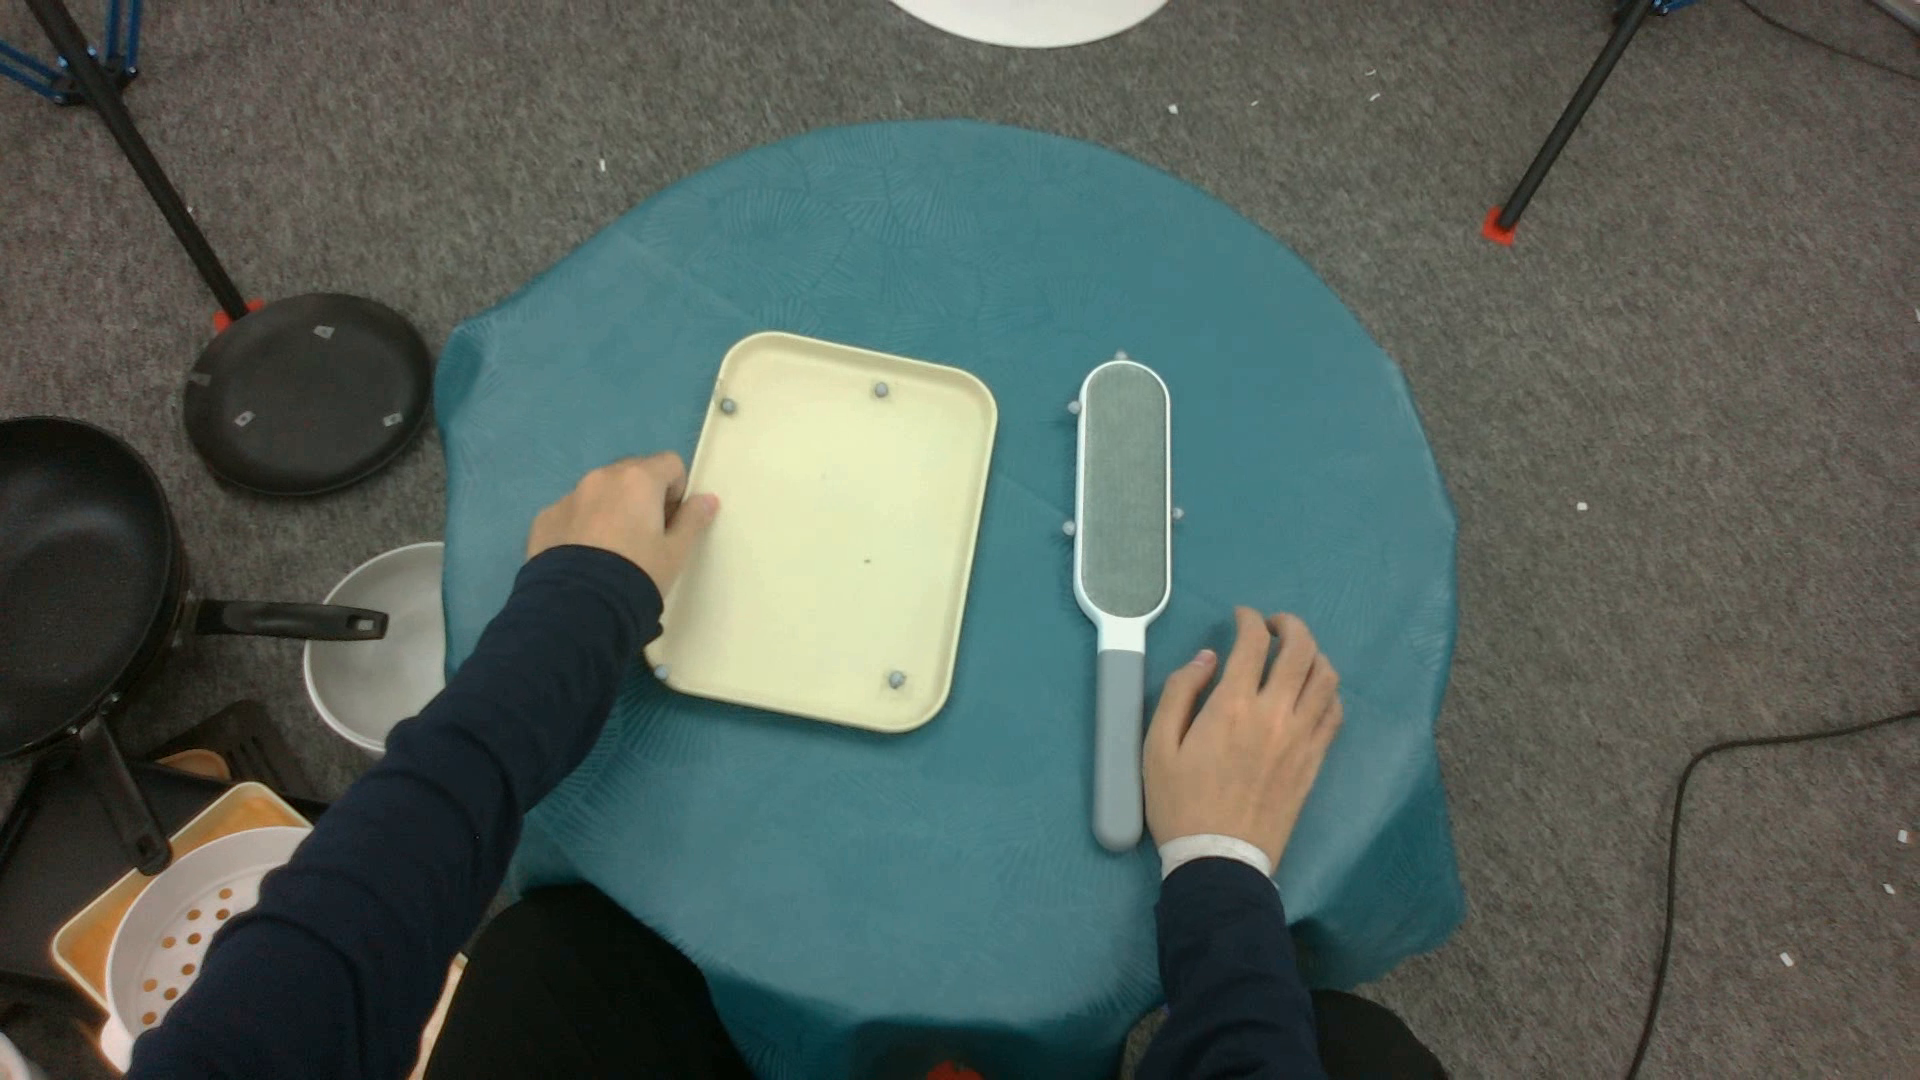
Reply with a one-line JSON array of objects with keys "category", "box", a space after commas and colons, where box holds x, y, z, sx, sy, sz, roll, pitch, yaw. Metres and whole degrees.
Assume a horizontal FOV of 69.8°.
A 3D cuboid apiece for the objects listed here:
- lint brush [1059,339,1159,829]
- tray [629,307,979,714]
[{"category": "lint brush", "box": [0.085, 0.014, 0.794, 0.060, 0.021, 0.310, 9, 63, -9]}, {"category": "tray", "box": [-0.083, -0.021, 0.790, 0.171, 0.017, 0.240, 12, 62, -6]}]
